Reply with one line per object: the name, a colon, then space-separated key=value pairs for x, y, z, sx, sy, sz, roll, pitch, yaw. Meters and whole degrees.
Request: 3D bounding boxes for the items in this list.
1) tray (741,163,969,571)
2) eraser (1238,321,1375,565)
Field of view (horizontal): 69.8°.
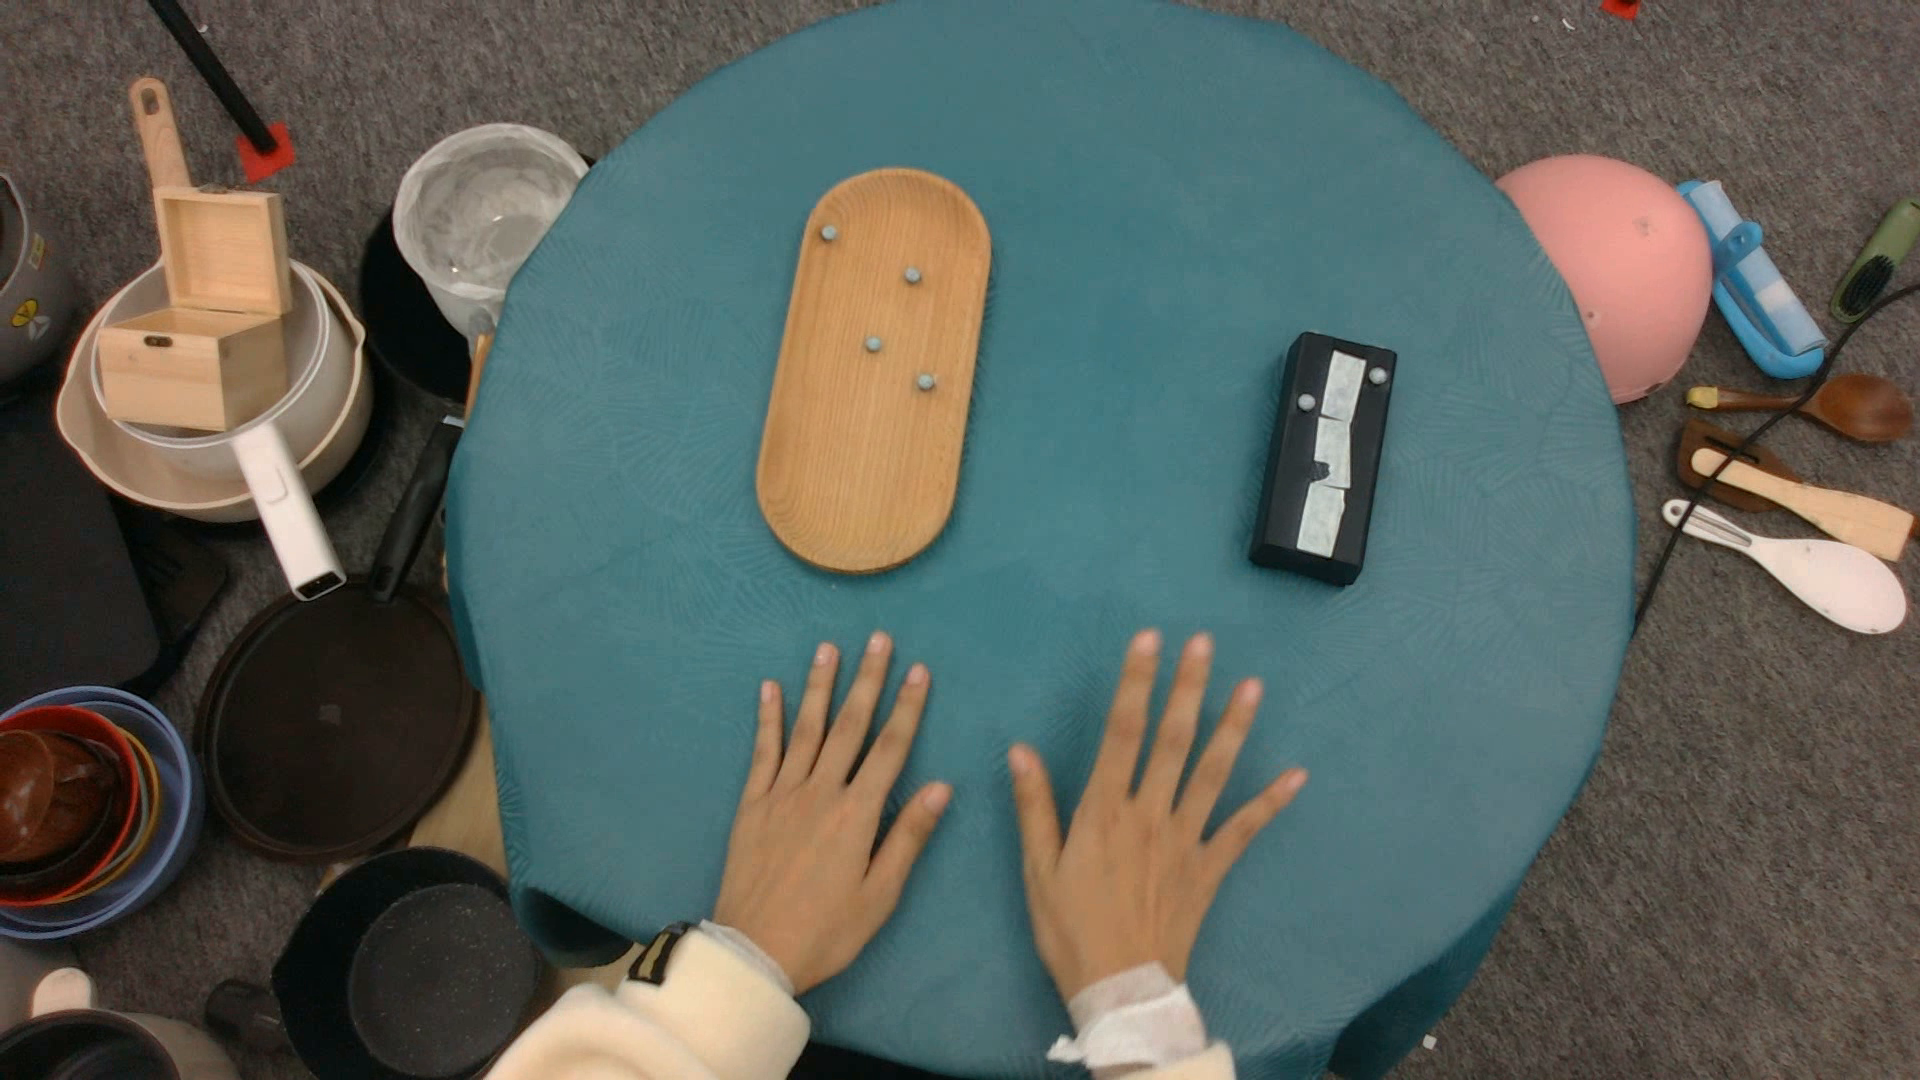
tray: x=-0.052 y=-0.094 z=0.712 sx=0.101 sy=0.020 sz=0.232 roll=6 pitch=72 yaw=0
eraser: x=0.176 y=-0.051 z=0.702 sx=0.053 sy=0.030 sz=0.126 roll=11 pitch=69 yaw=7
